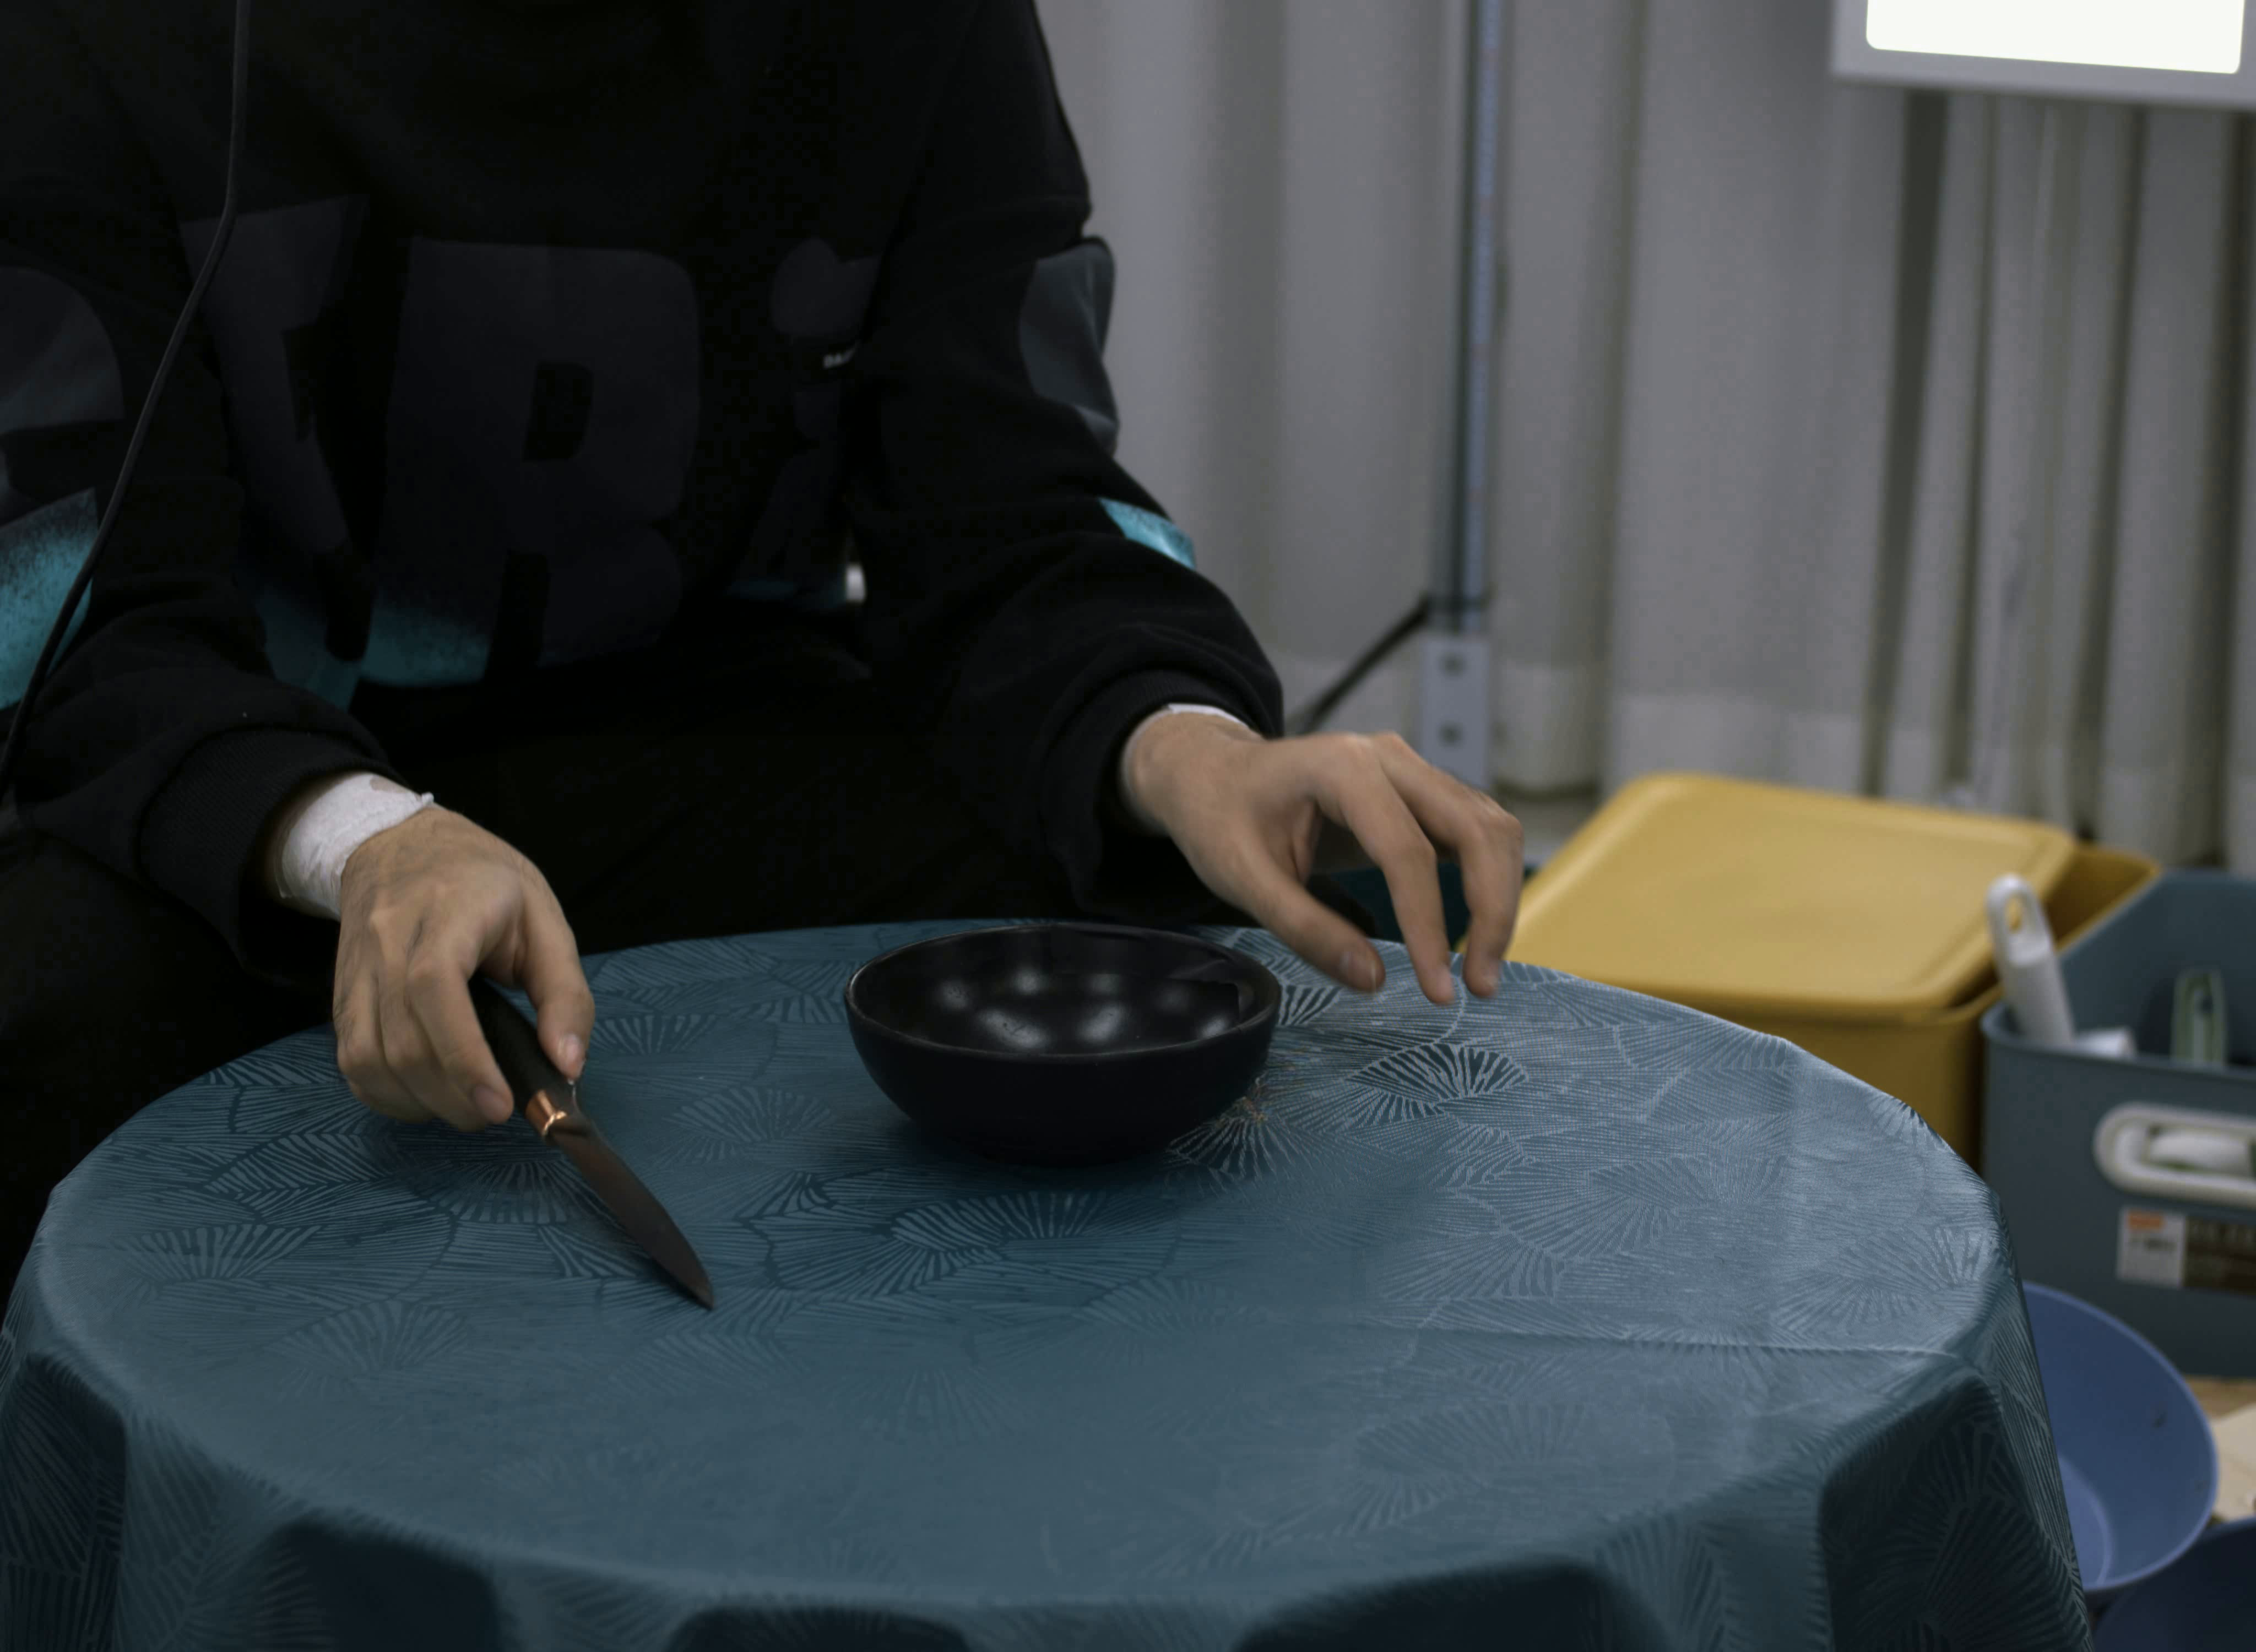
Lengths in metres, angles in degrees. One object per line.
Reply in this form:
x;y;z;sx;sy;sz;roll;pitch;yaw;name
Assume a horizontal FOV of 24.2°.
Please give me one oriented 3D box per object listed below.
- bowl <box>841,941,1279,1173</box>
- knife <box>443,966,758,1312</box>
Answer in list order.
-0.020;0.077;1.668;0.139;0.050;0.139;-3;13;1;bowl
-0.164;0.094;1.608;0.026;0.017;0.222;8;20;-32;knife
